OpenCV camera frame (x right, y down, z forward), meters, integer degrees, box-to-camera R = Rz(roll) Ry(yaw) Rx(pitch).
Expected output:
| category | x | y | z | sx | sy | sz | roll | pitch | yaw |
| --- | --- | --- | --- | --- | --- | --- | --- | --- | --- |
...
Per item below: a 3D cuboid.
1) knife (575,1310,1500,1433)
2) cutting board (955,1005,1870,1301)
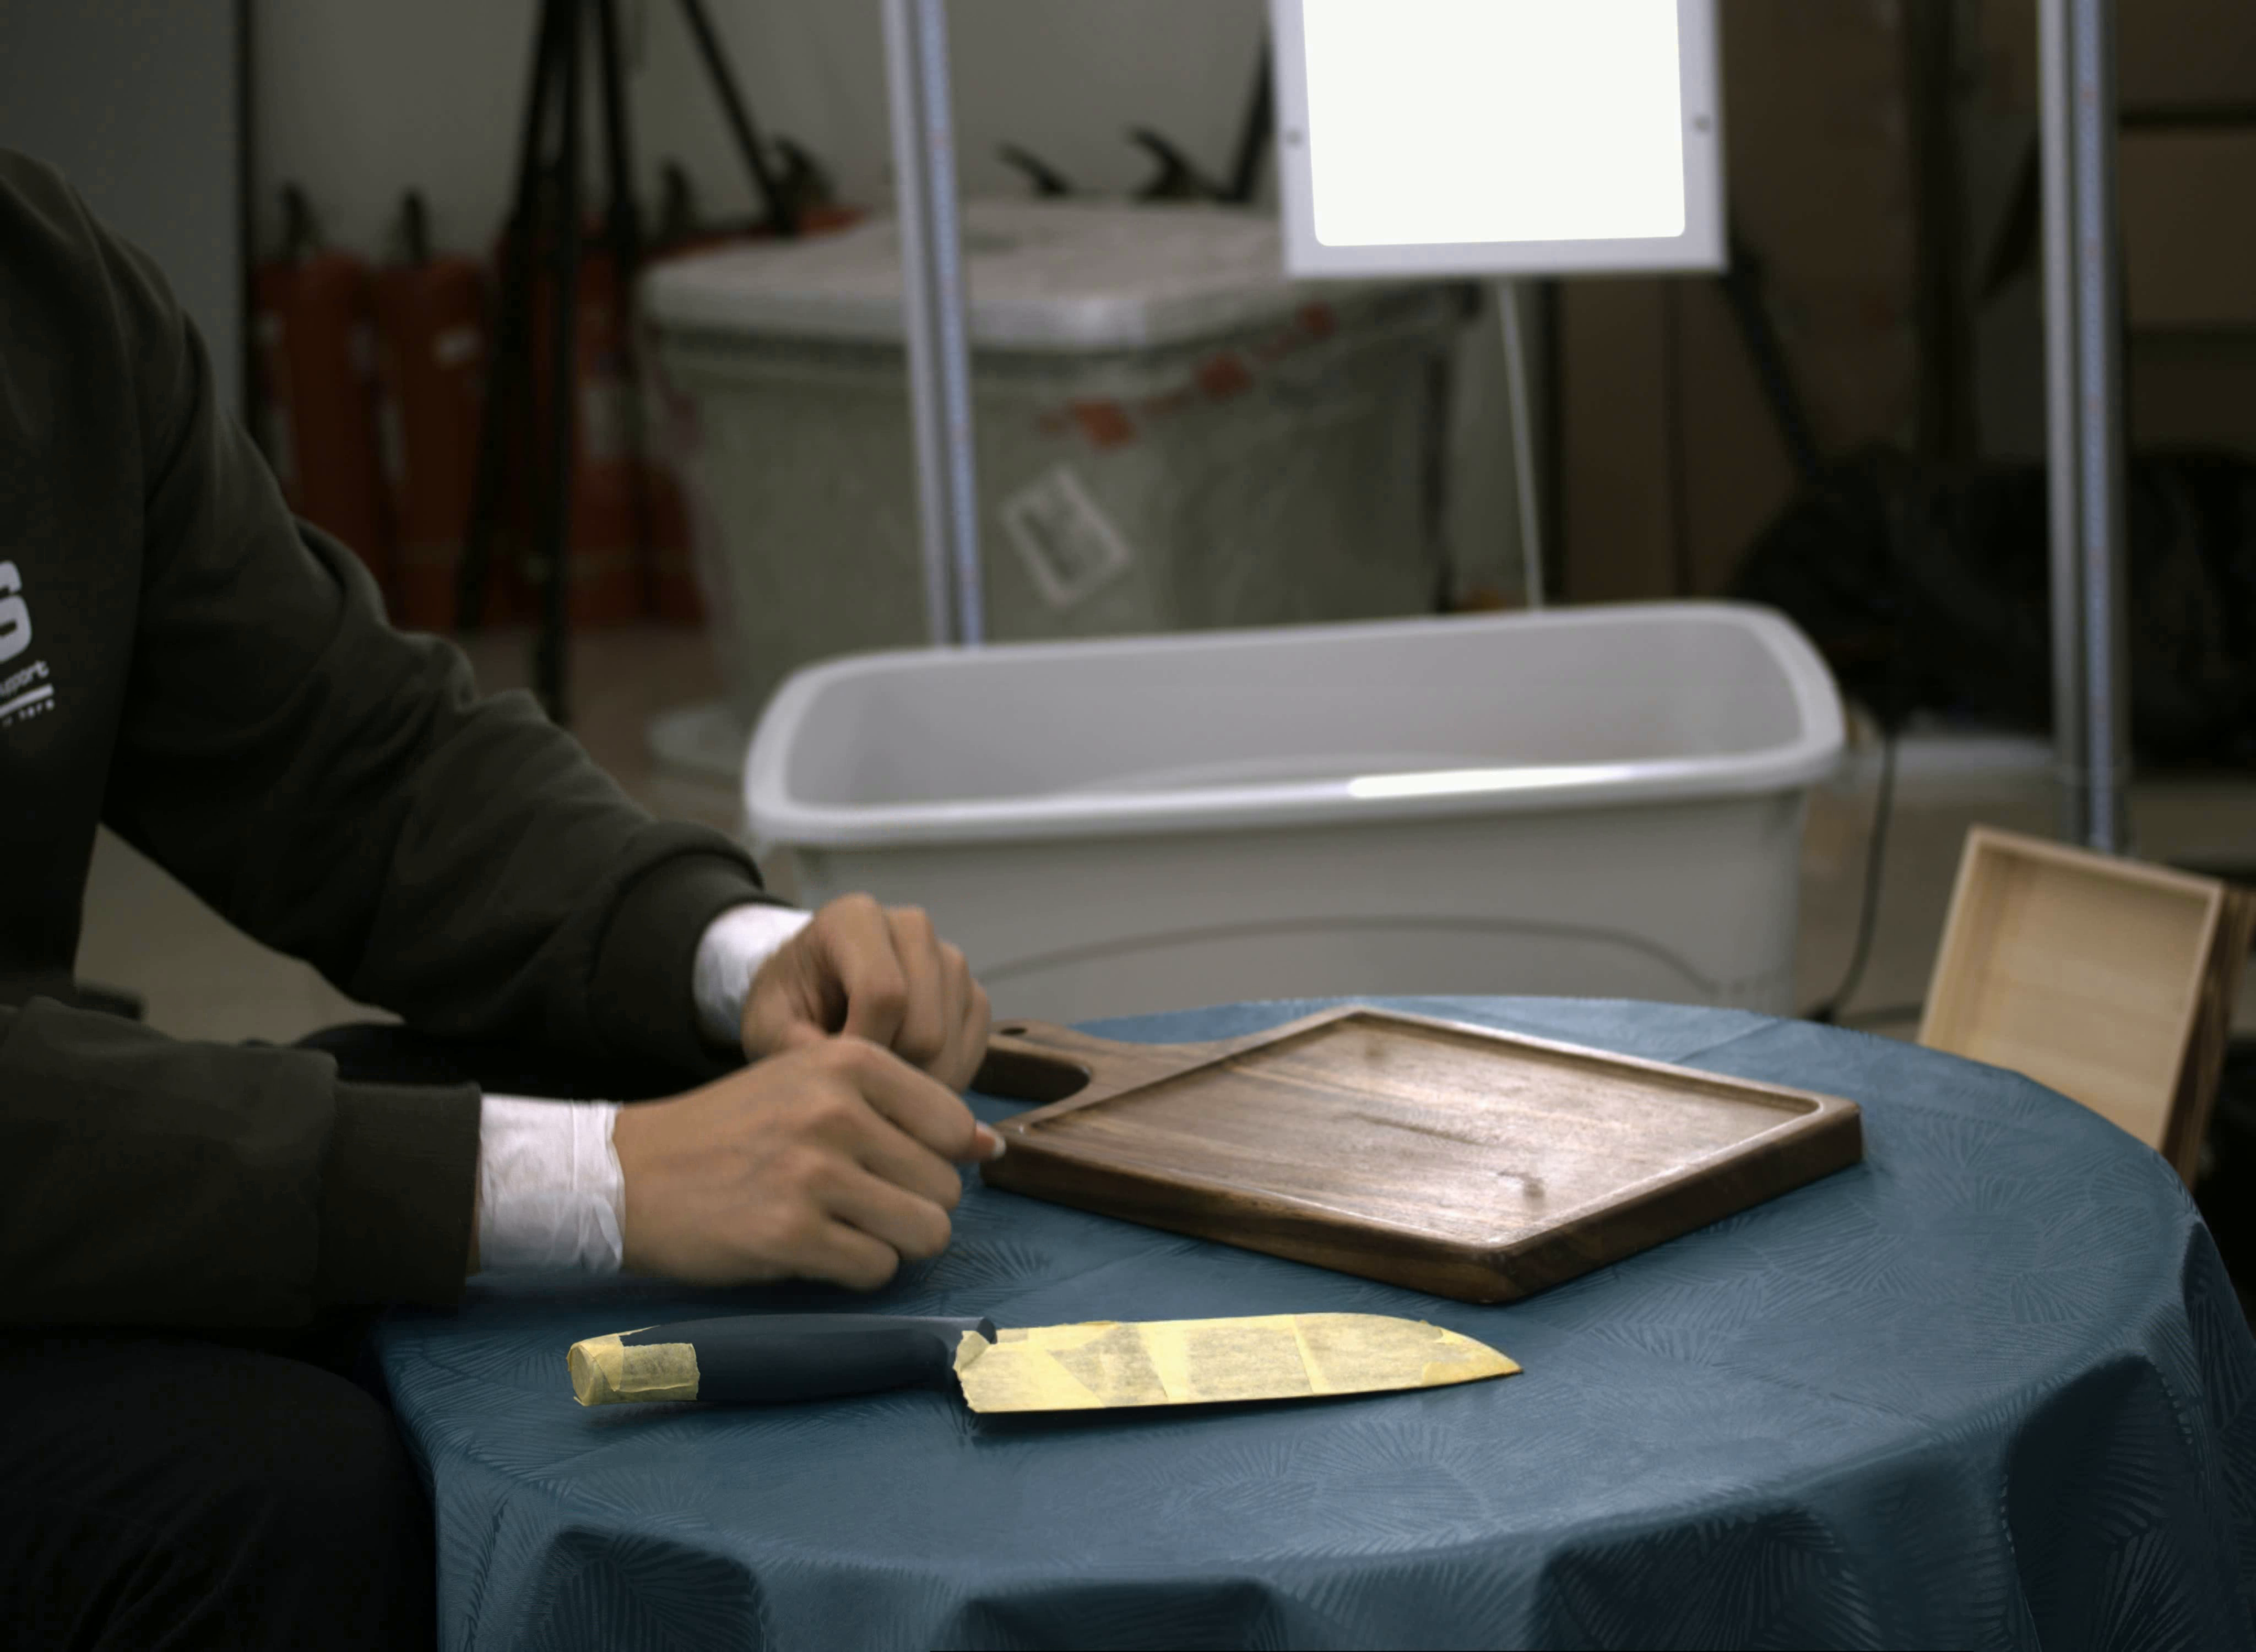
| category | x | y | z | sx | sy | sz | roll | pitch | yaw |
| --- | --- | --- | --- | --- | --- | --- | --- | --- | --- |
| knife | -0.028 | 0.169 | 1.707 | 0.289 | 0.027 | 0.081 | -4 | 12 | 1 |
| cutting board | 0.067 | 0.103 | 1.930 | 0.196 | 0.023 | 0.360 | -16 | 17 | -41 |
